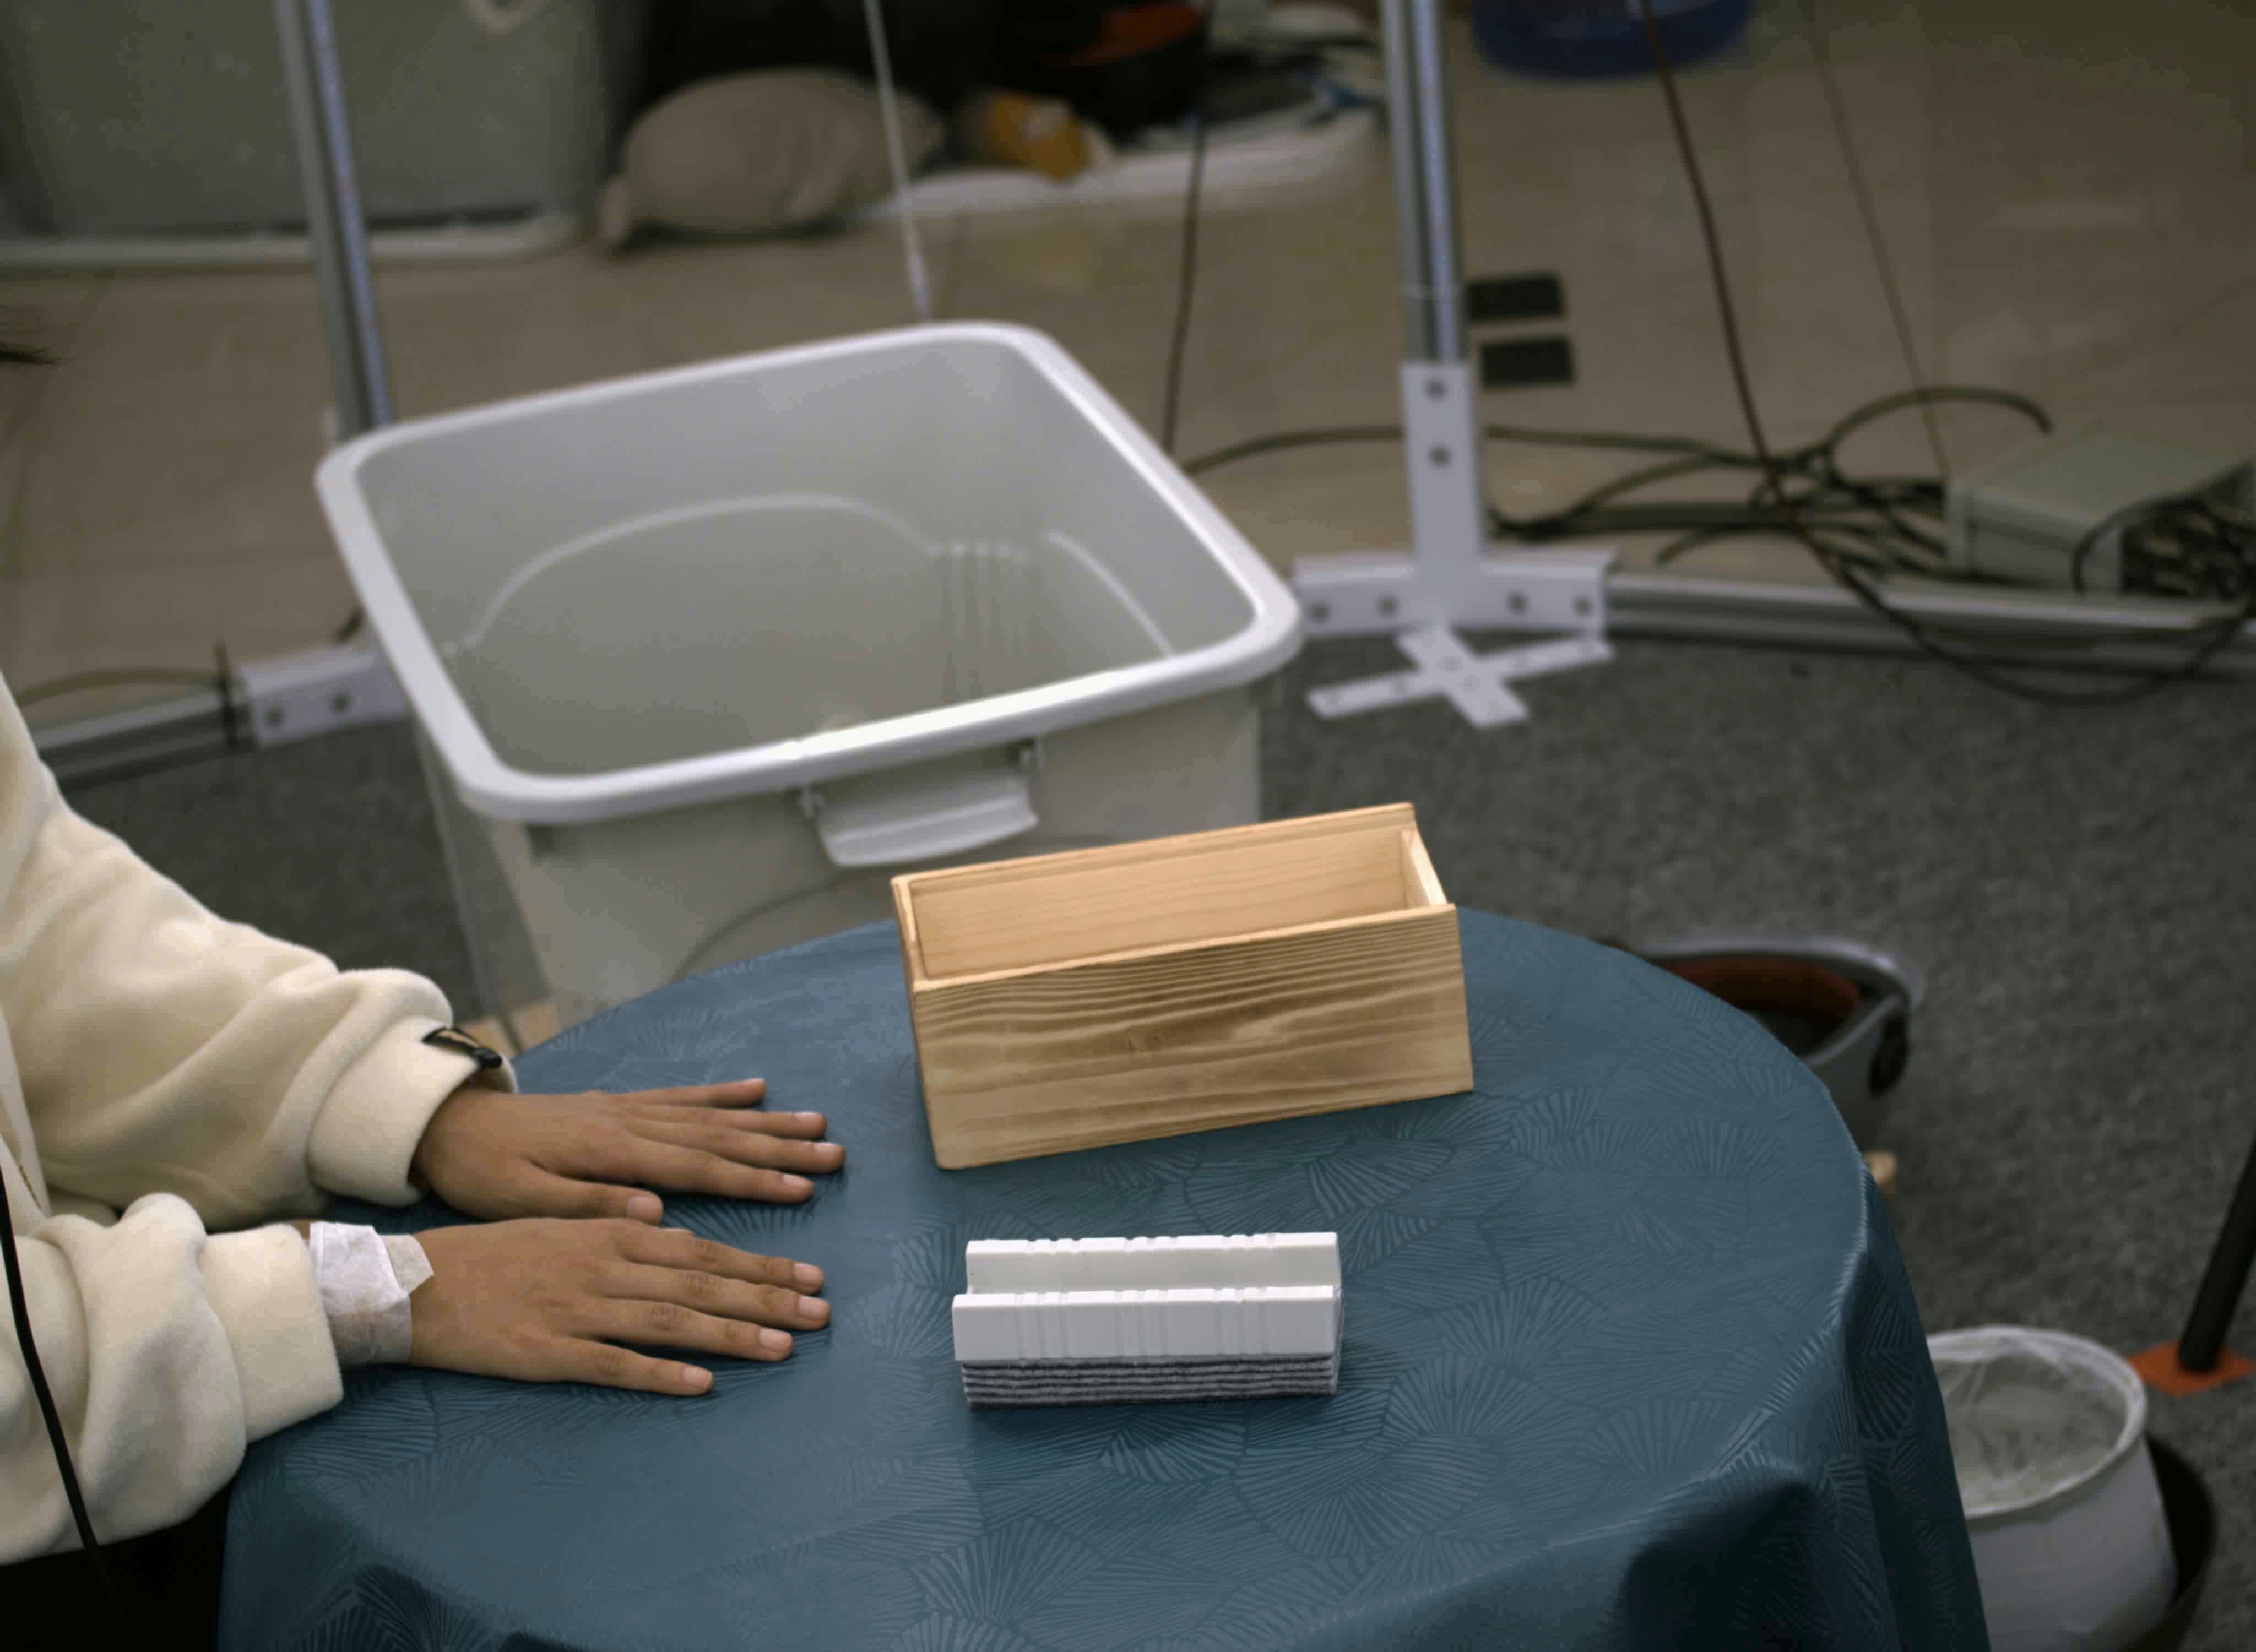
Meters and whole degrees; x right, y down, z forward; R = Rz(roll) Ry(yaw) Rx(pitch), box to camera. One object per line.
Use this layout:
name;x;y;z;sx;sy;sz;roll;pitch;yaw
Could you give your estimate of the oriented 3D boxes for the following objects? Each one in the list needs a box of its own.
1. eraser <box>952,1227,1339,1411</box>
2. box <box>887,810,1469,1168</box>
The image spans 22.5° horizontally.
eraser;0.007;0.175;2.012;0.134;0.047;0.049;-2;27;5
box;0.018;0.062;2.213;0.211;0.081;0.106;-8;25;-5
